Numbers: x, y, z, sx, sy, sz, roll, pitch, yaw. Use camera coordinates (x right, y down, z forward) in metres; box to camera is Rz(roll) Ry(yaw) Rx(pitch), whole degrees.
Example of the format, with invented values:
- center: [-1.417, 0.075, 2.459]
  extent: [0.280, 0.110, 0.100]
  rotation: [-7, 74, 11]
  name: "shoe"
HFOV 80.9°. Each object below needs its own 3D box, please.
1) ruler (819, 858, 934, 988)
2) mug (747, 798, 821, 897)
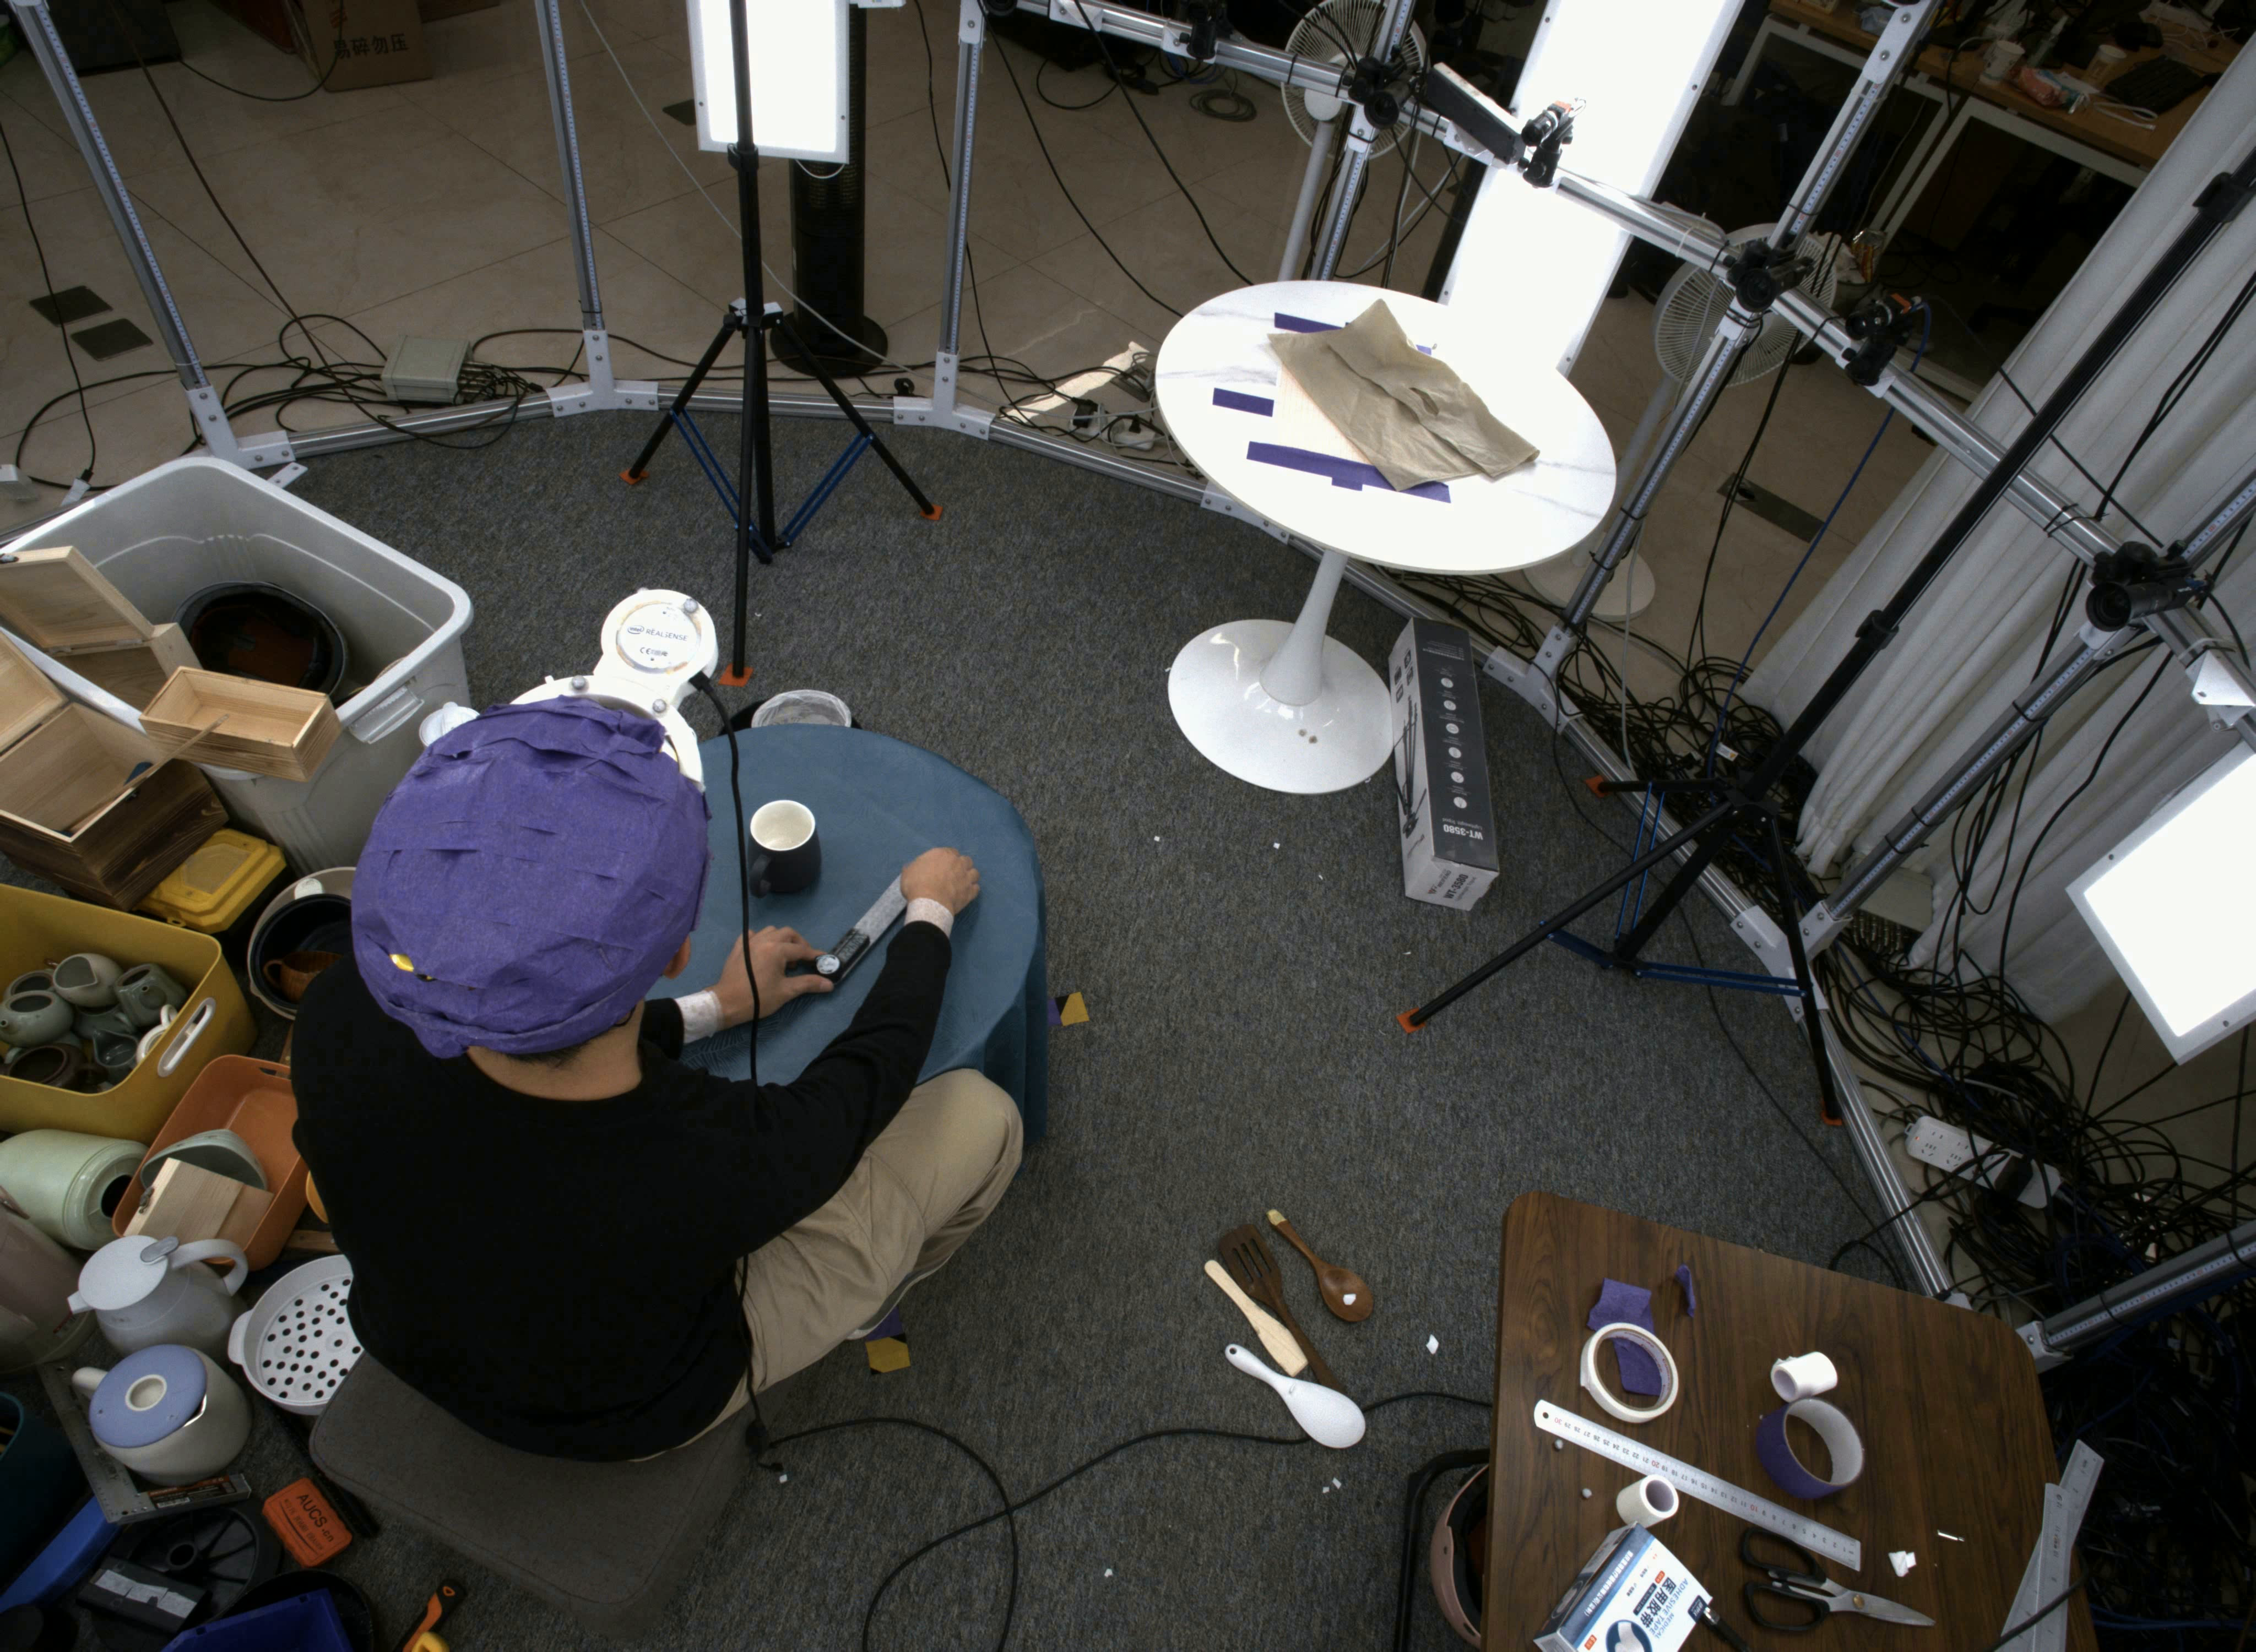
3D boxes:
- center: [-0.319, 0.115, 1.641]
  extent: [0.037, 0.025, 0.217]
  rotation: [27, 53, 10]
  name: "ruler"
- center: [-0.442, 0.033, 1.629]
  extent: [0.092, 0.092, 0.122]
  rotation: [22, 50, 6]
  name: "mug"
